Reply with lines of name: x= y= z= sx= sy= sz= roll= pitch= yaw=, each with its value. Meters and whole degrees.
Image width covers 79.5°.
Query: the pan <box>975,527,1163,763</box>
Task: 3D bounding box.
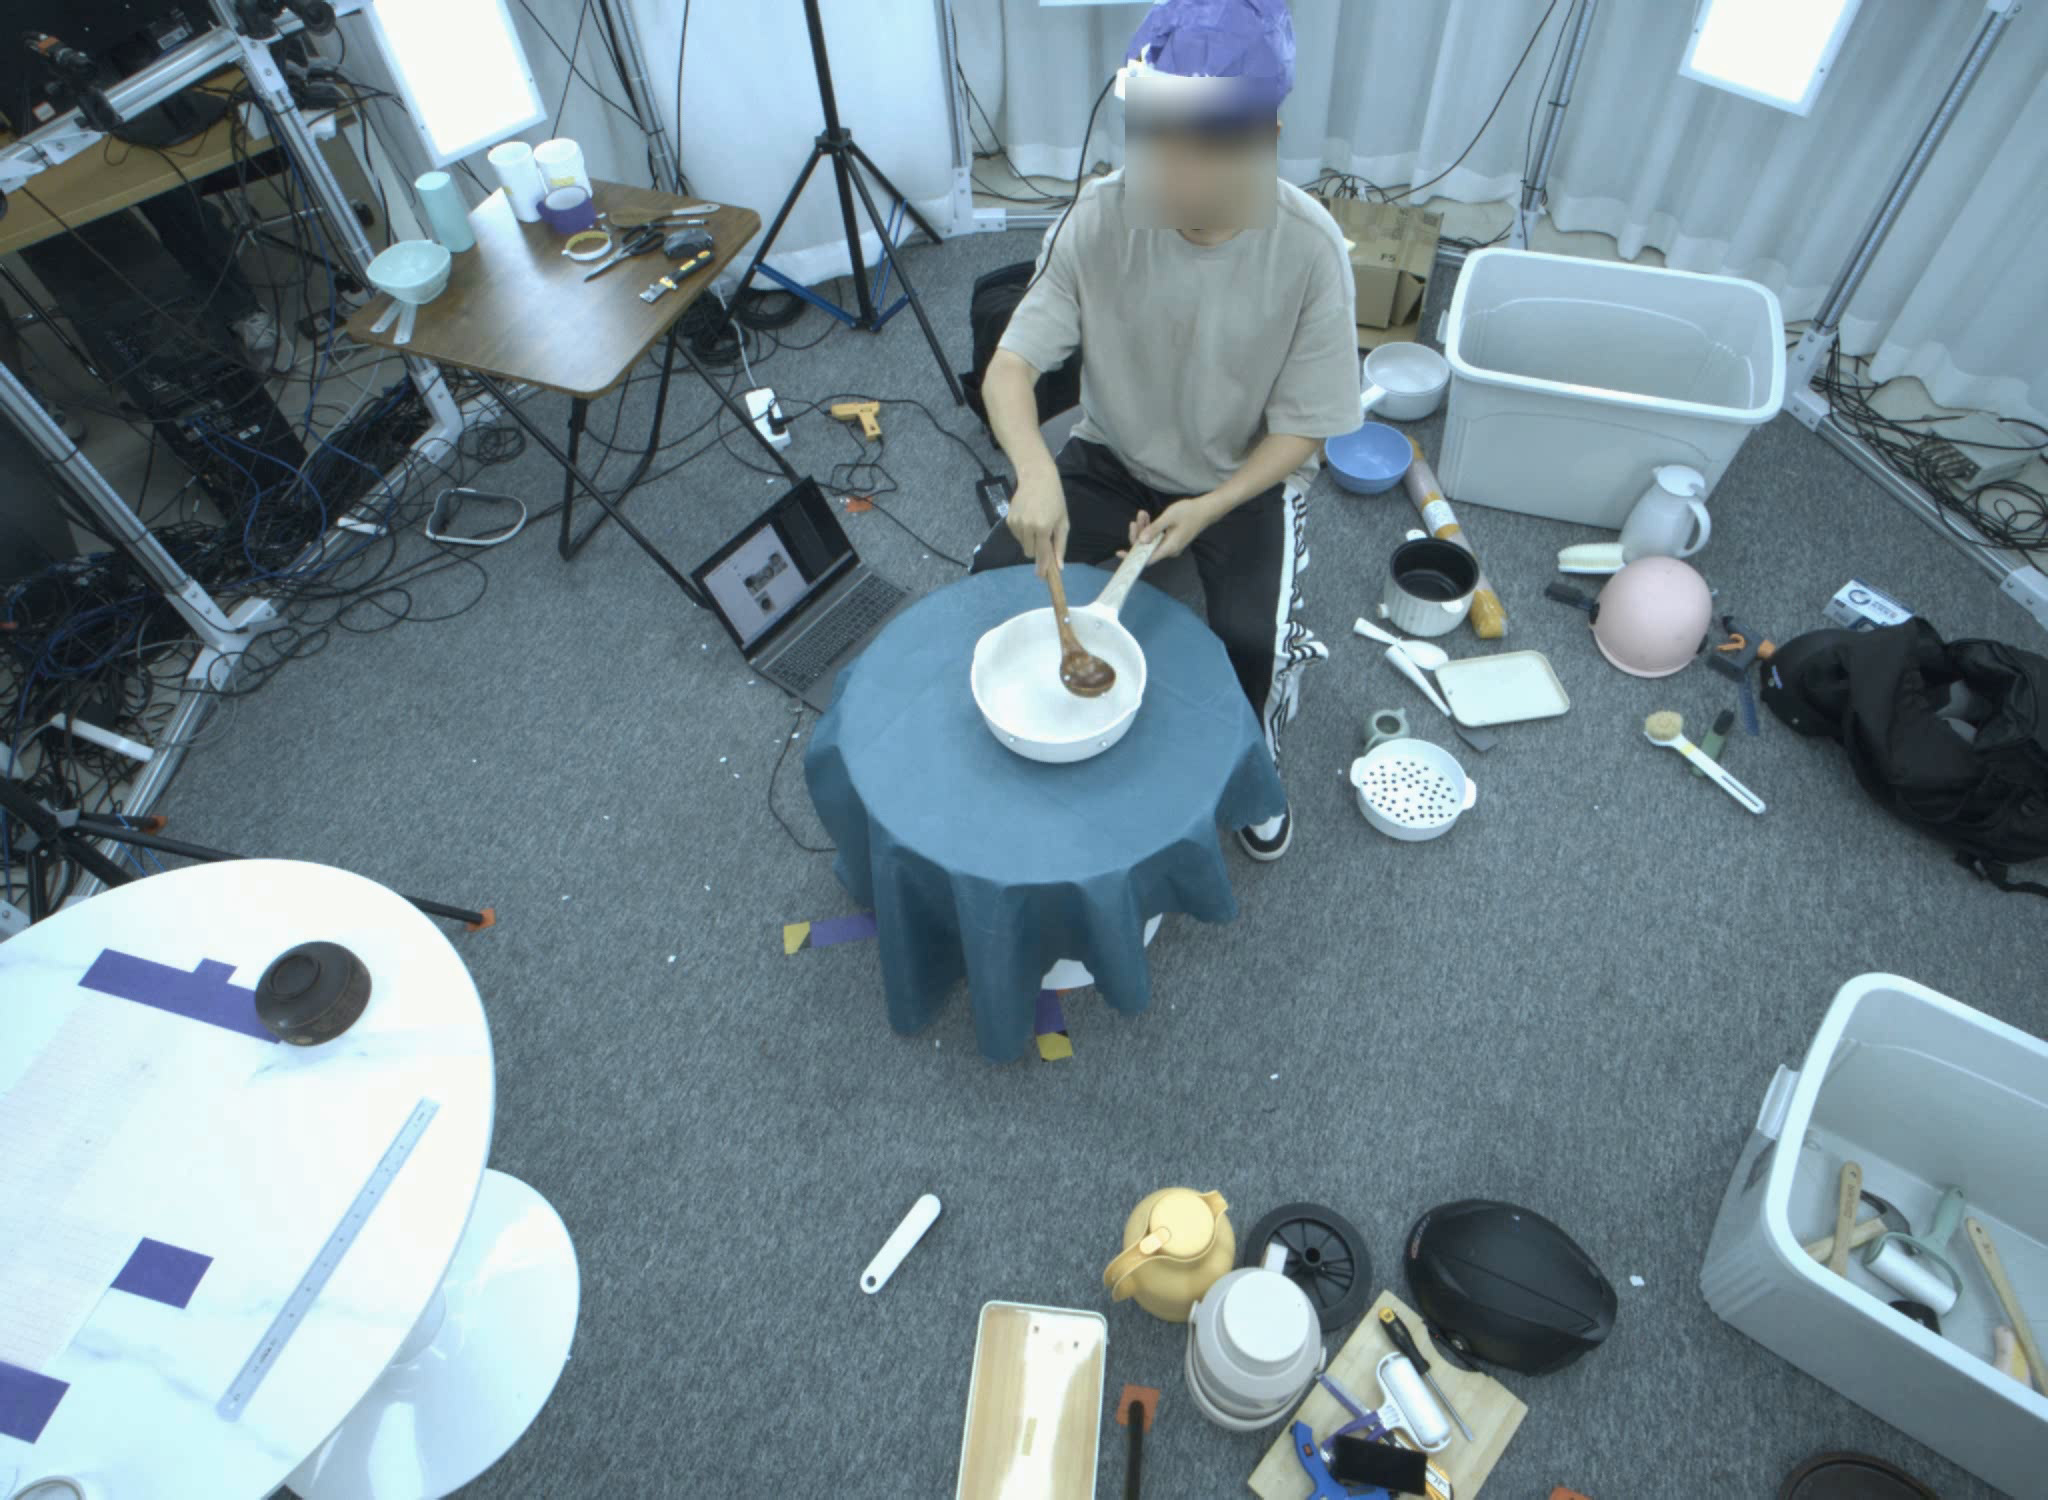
pan: x=0.102 y=-0.159 z=1.832 sx=0.259 sy=0.103 sz=0.436 roll=23 pitch=59 yaw=20

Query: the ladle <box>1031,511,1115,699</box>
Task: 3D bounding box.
ladle: x=0.063 y=-0.206 z=1.731 sx=0.083 sy=0.275 sz=0.075 roll=-19 pitch=11 yaw=-32
